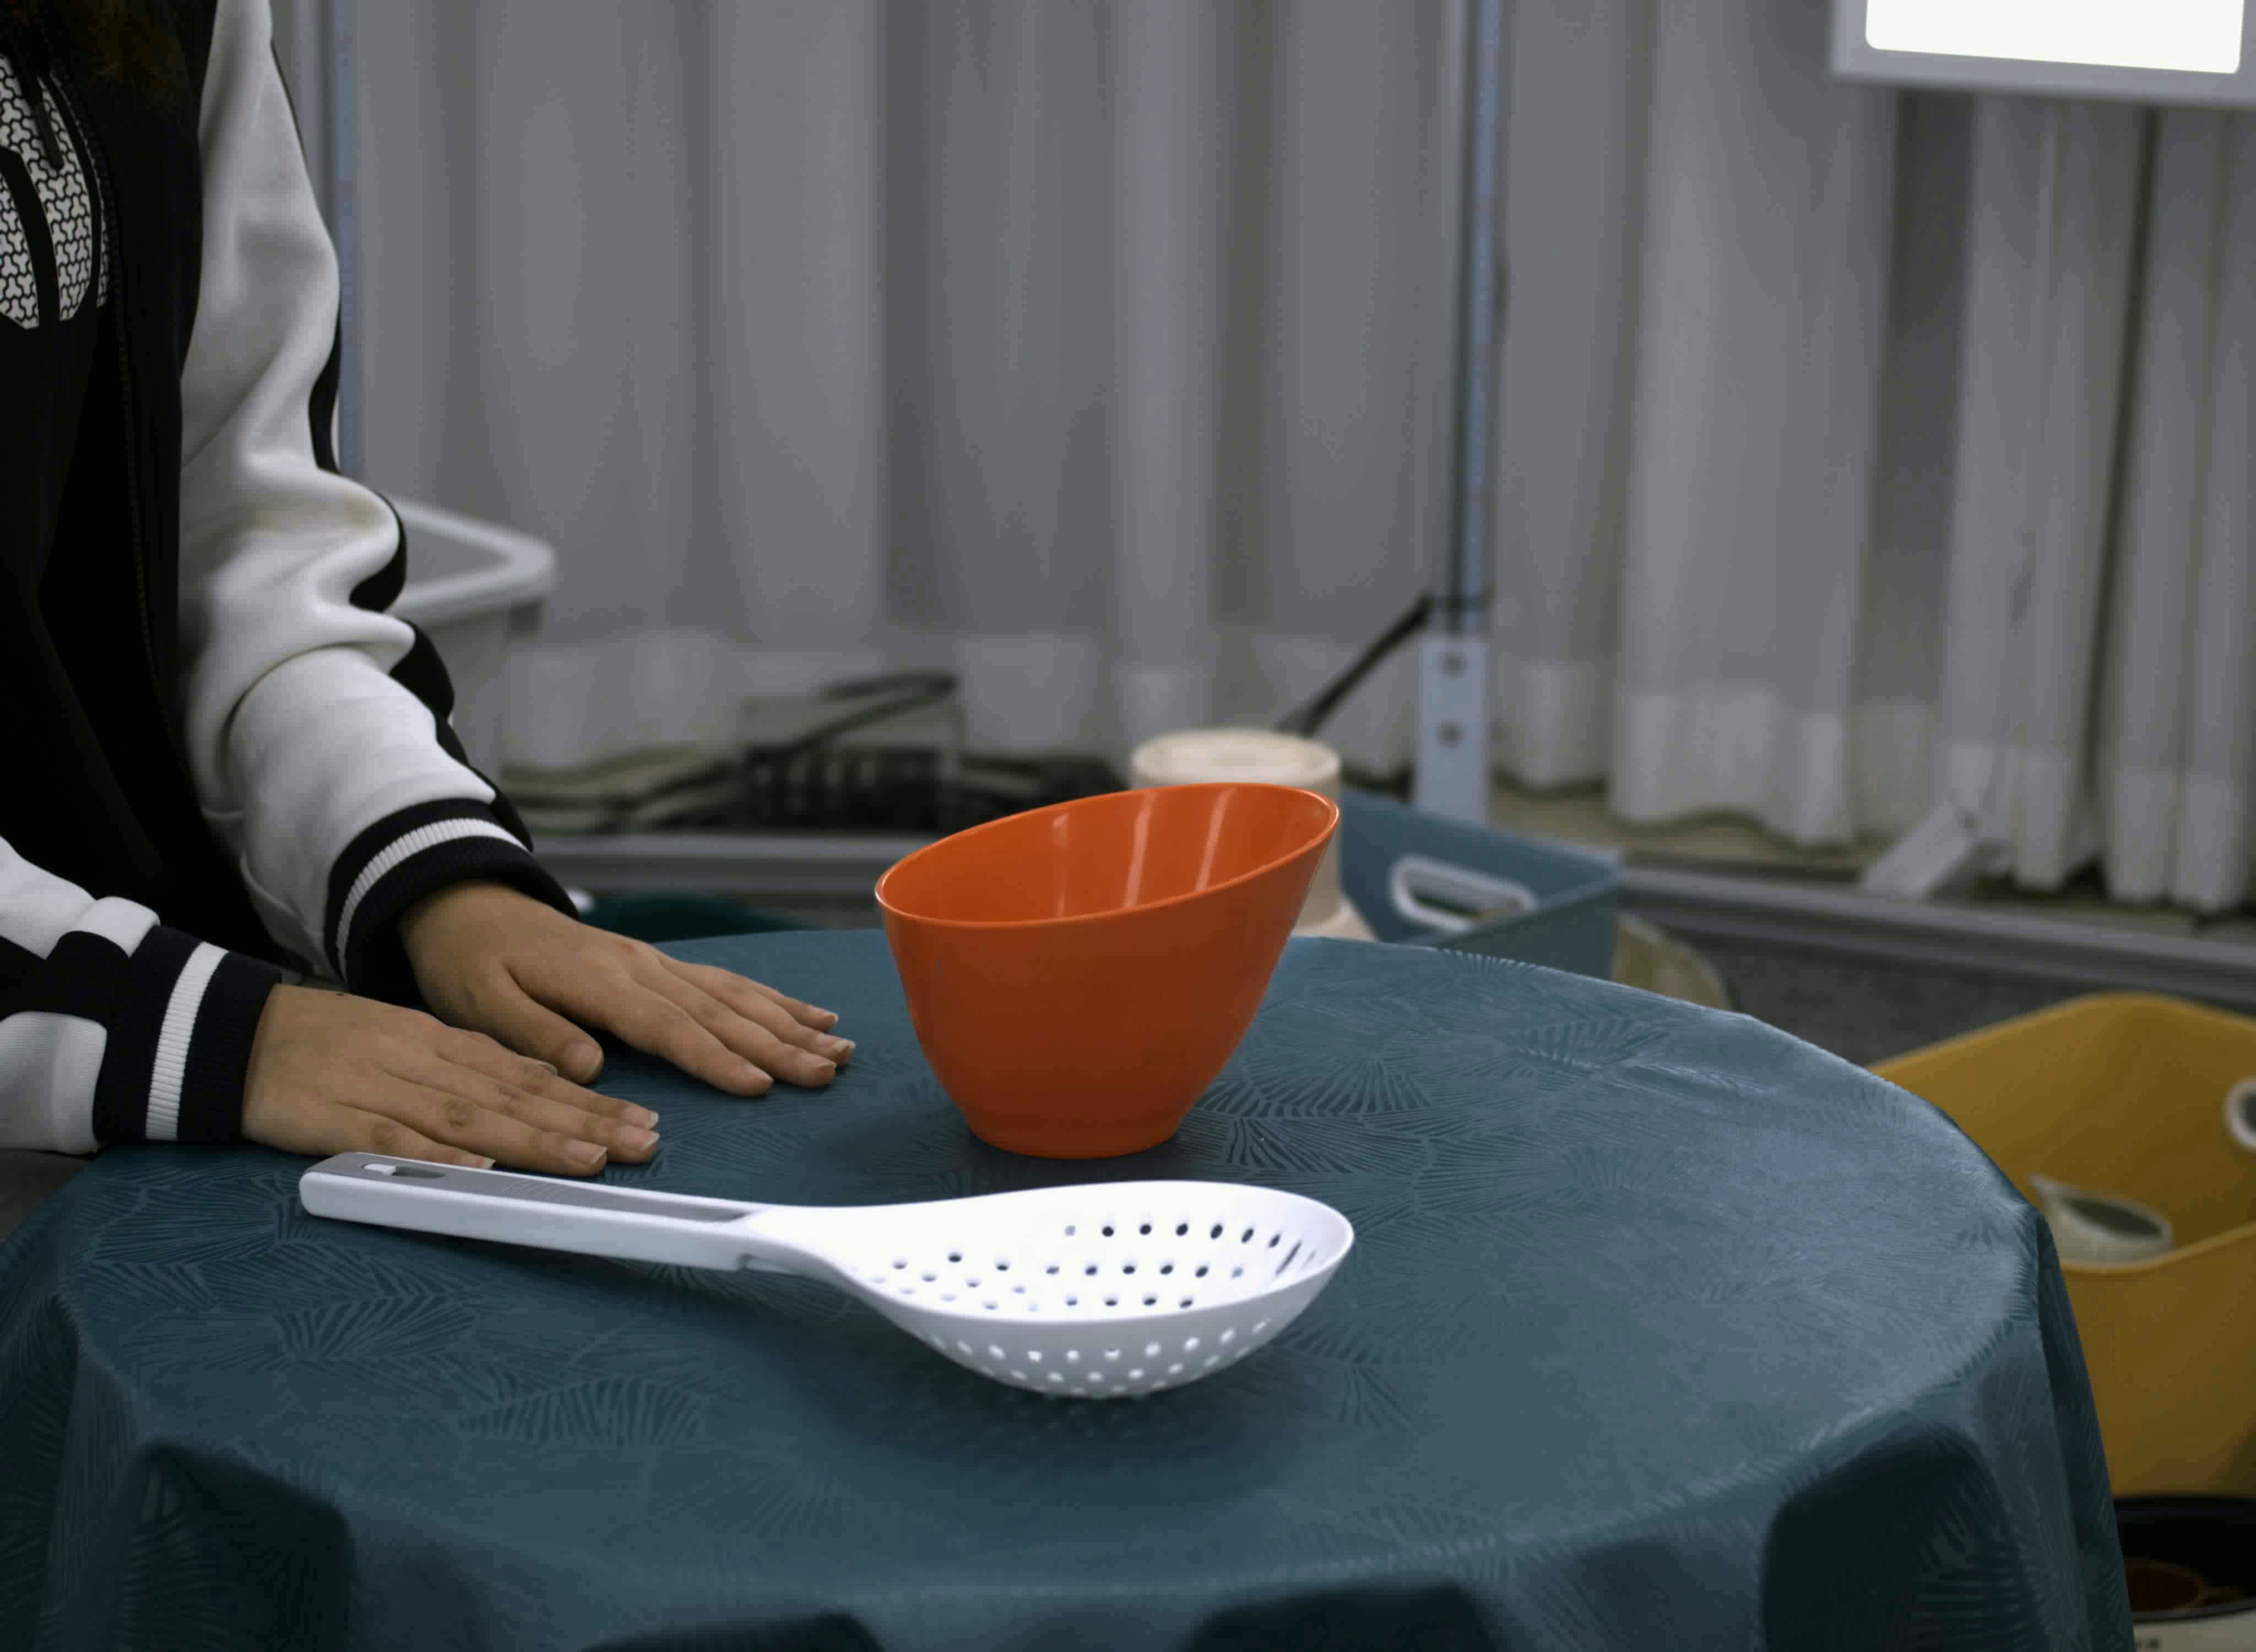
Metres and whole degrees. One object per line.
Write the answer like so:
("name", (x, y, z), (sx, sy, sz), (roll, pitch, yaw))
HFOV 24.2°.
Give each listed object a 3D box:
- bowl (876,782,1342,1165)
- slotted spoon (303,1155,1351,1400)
("bowl", (-0.006, 0.048, 1.664), (0.147, 0.105, 0.147), (-1, 18, 1))
("slotted spoon", (-0.097, 0.119, 1.511), (0.345, 0.046, 0.136), (9, 16, 30))
